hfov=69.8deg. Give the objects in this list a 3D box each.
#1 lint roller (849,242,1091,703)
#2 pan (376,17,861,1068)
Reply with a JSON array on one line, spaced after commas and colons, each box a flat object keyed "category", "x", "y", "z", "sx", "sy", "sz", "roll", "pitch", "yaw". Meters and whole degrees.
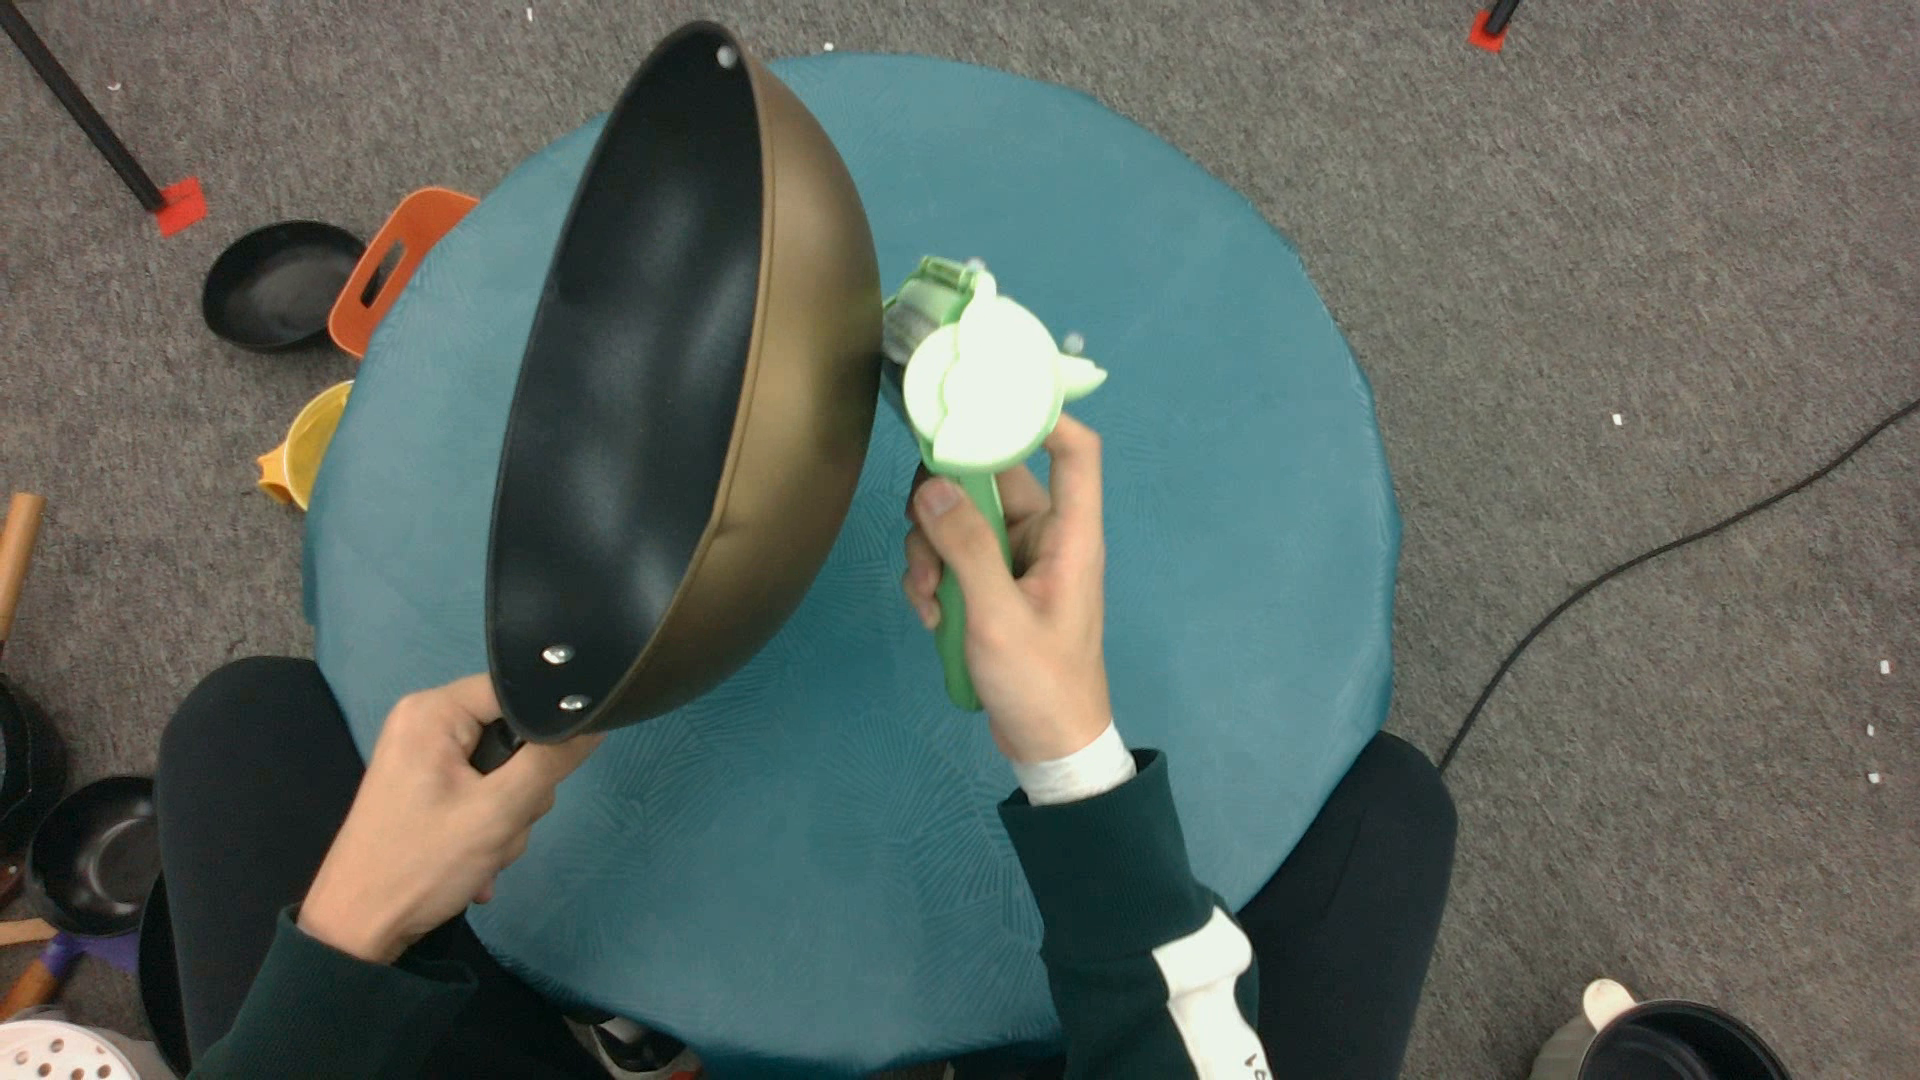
[{"category": "lint roller", "x": 0.010, "y": -0.028, "z": 0.548, "sx": 0.082, "sy": 0.199, "sz": 0.183, "roll": -18, "pitch": 104, "yaw": -5}, {"category": "pan", "x": -0.145, "y": 0.028, "z": 0.571, "sx": 0.087, "sy": 0.288, "sz": 0.462, "roll": 13, "pitch": 105, "yaw": -31}]
